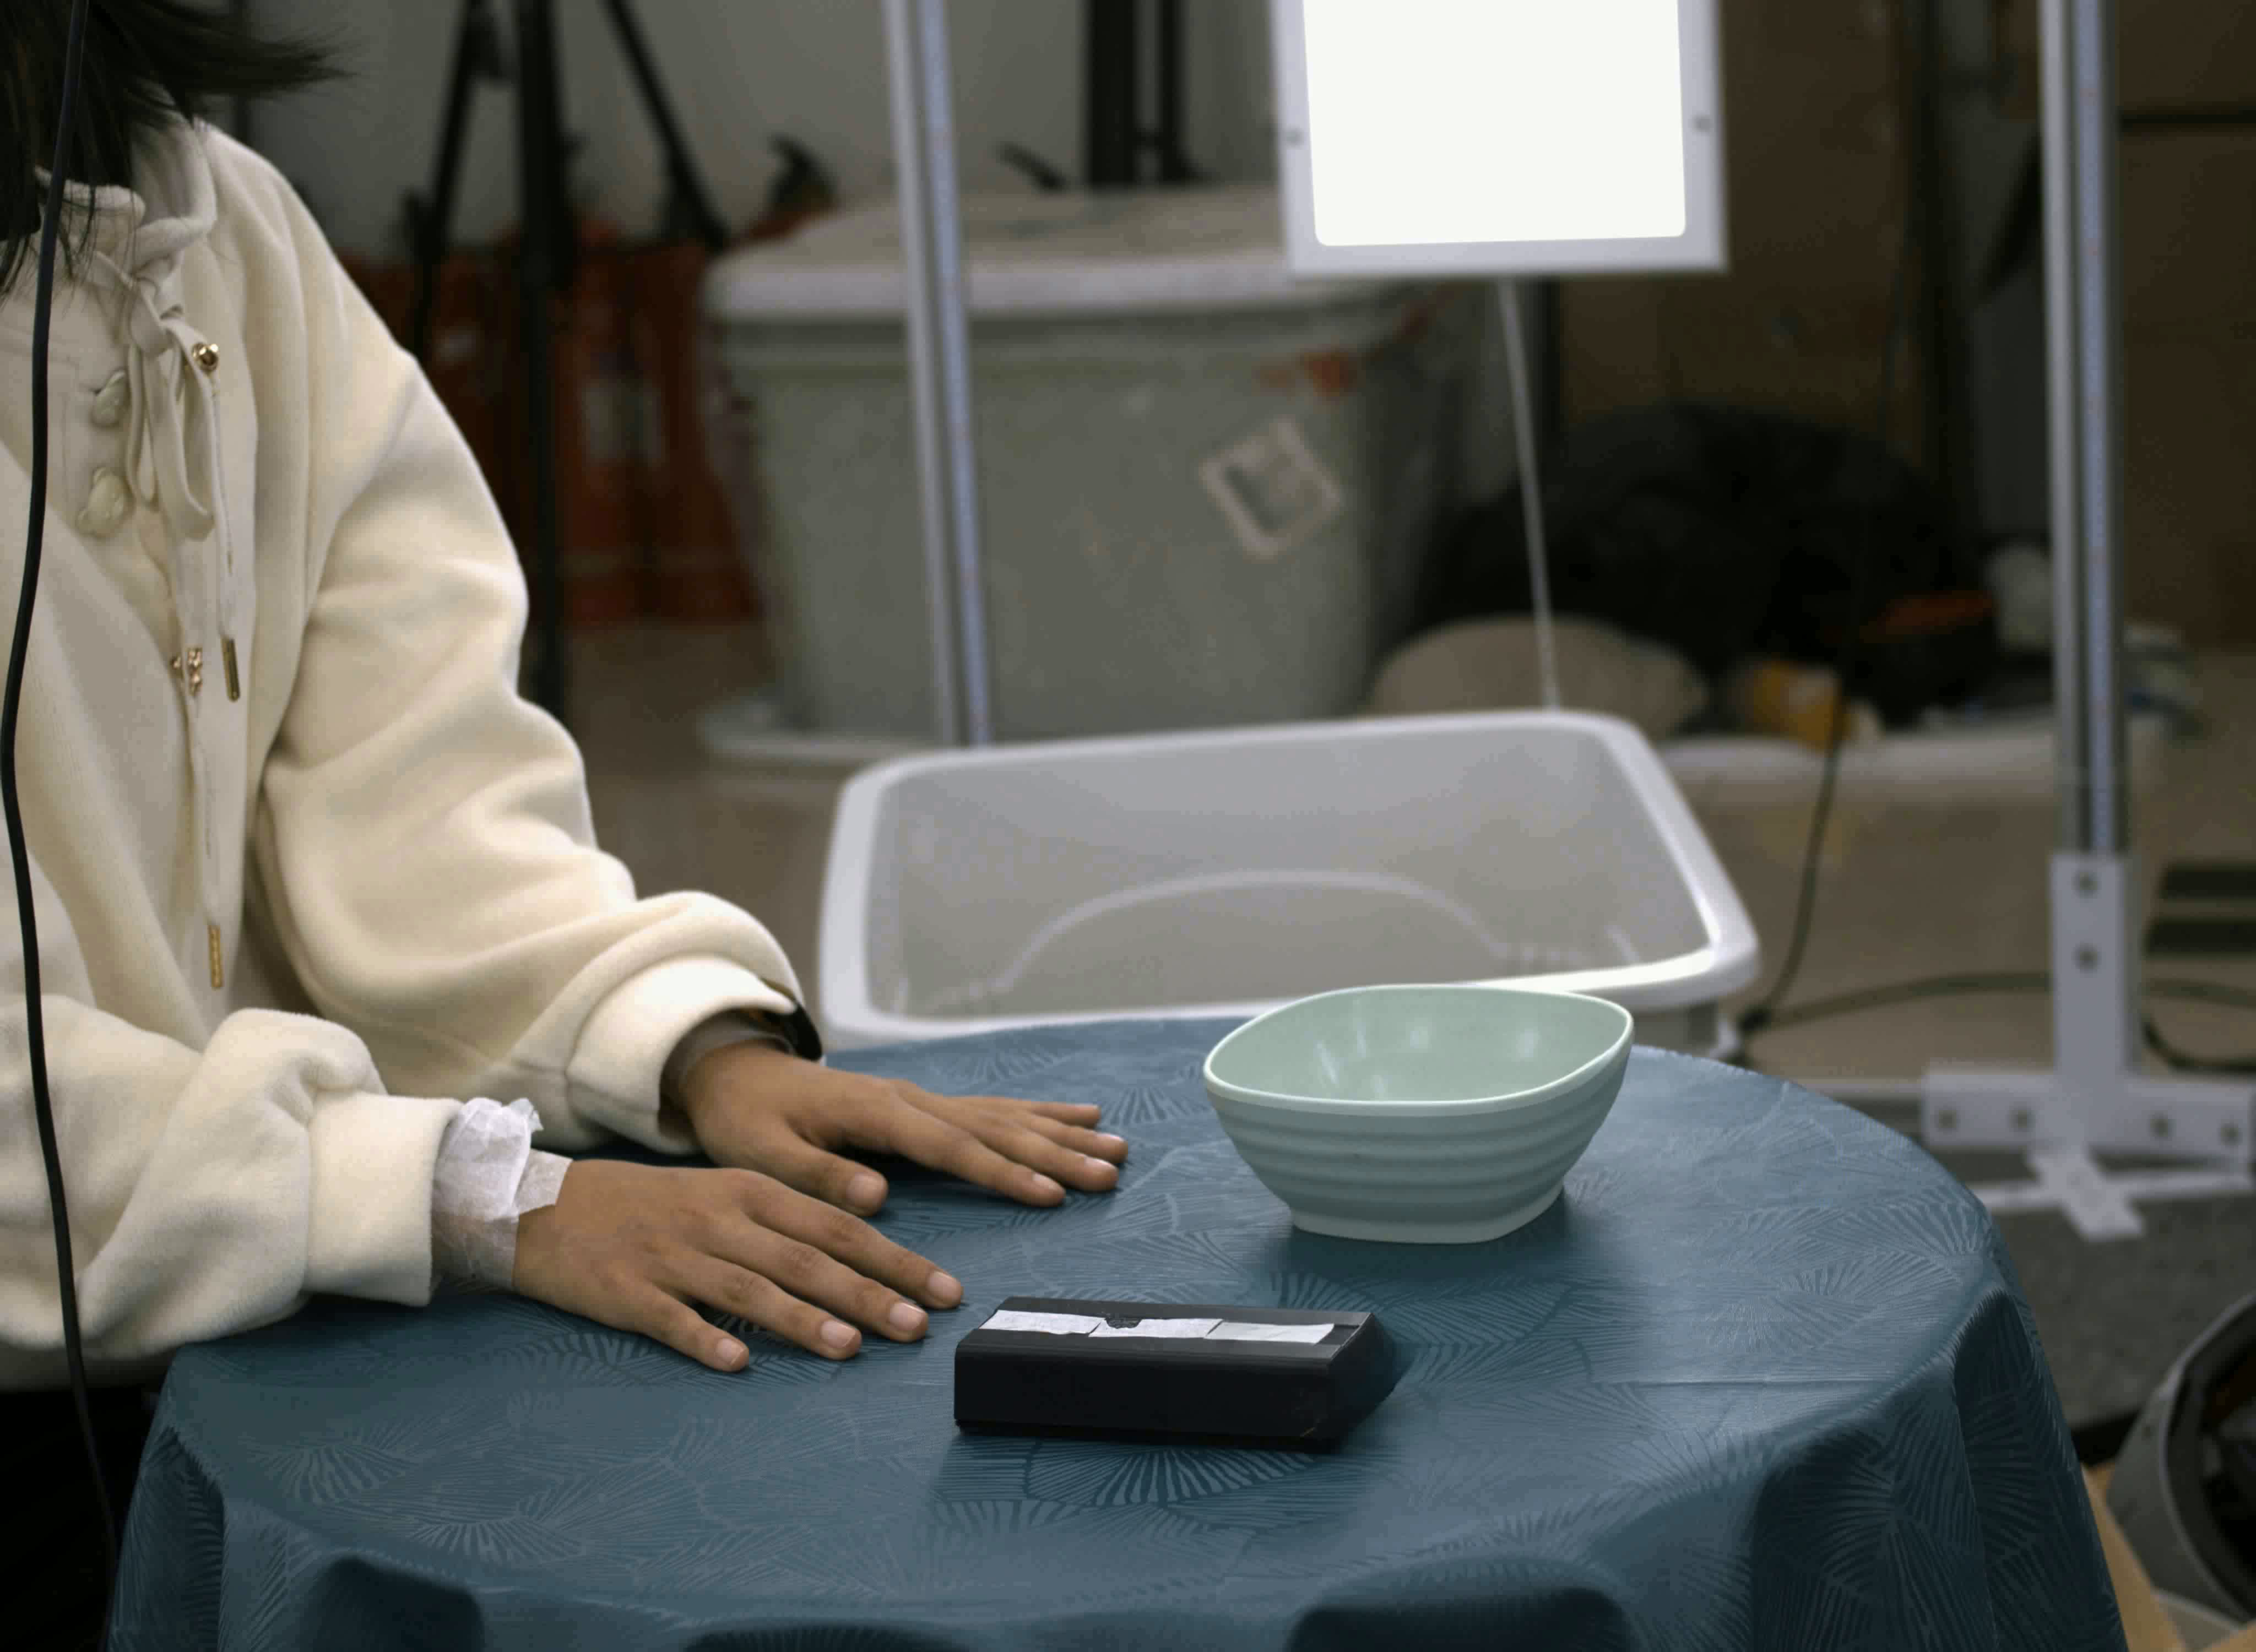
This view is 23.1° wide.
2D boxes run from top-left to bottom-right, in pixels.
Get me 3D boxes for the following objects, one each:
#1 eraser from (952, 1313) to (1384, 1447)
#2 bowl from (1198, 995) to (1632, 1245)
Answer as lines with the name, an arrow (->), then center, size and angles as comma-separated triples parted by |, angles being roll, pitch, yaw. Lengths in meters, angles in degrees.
eraser -> 0.014, 0.167, 1.670 | 0.127, 0.030, 0.052 | -2, 12, 22
bowl -> 0.098, 0.101, 1.848 | 0.151, 0.059, 0.151 | -3, 11, -1
